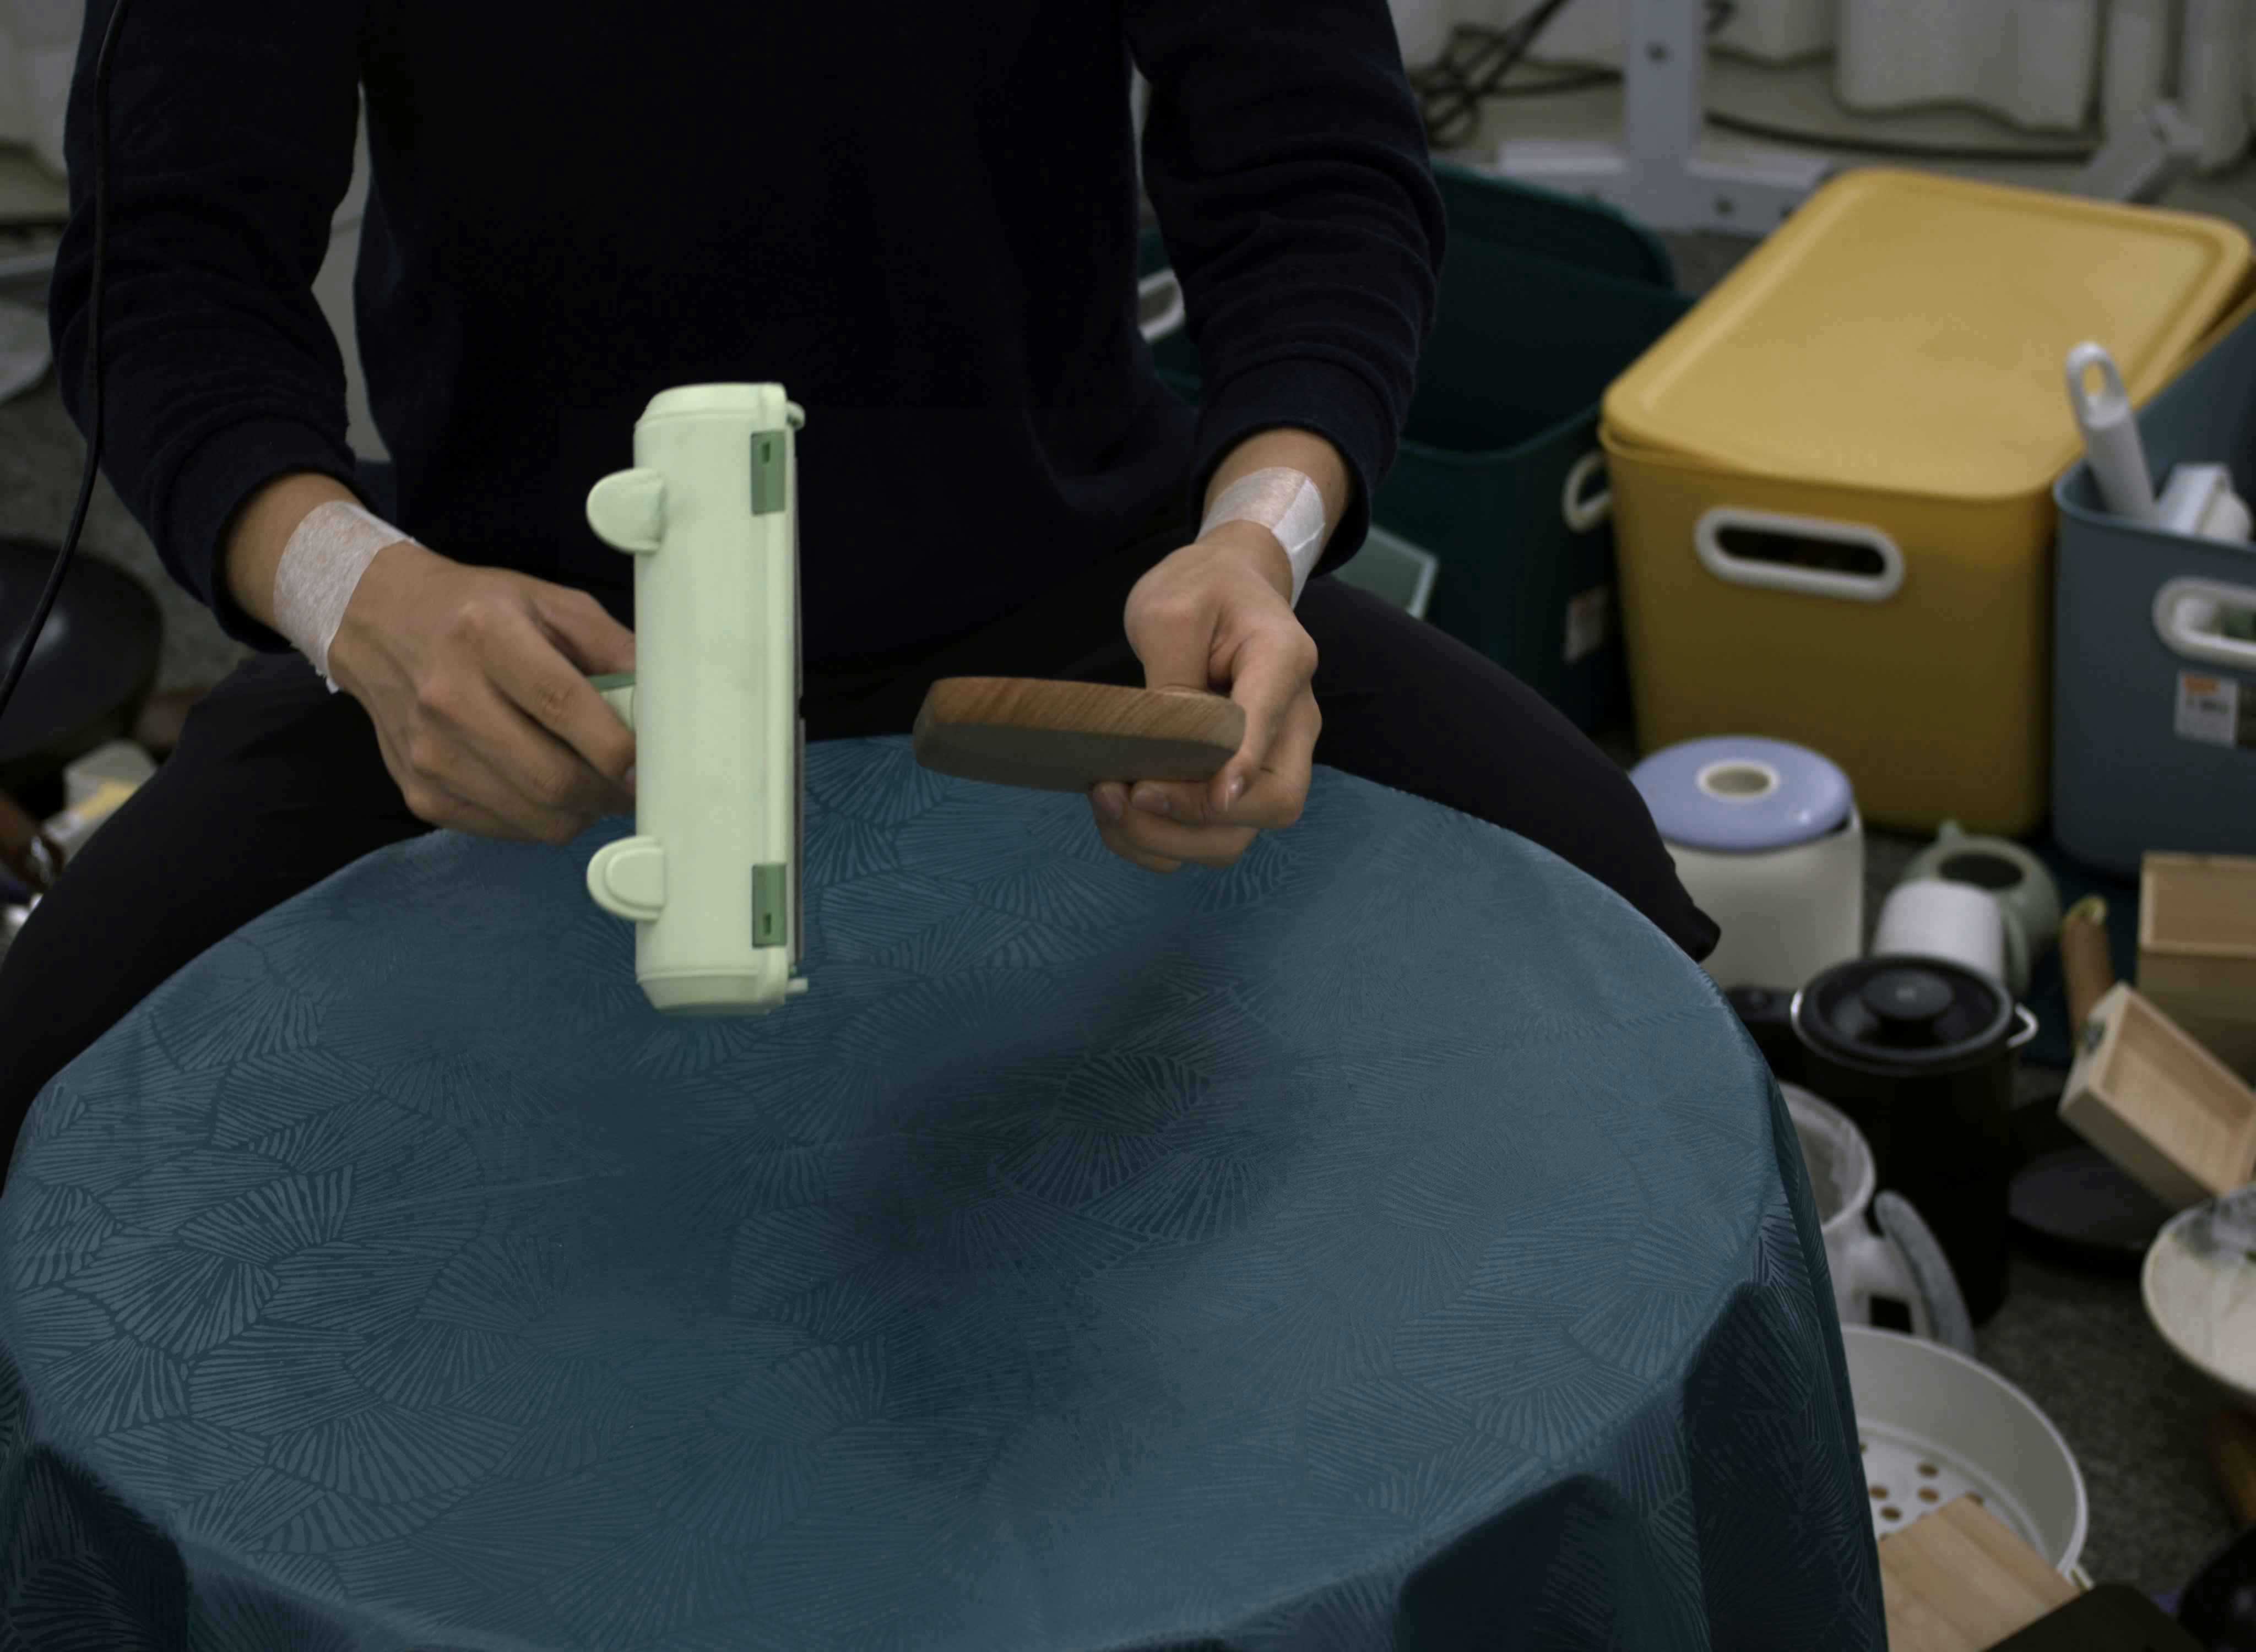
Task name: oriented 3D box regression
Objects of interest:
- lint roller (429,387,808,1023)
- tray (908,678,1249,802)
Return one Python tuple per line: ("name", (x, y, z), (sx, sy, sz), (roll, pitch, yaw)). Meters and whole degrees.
("lint roller", (-0.178, -0.033, 1.797), (0.181, 0.200, 0.082), (-8, -11, 37))
("tray", (-0.018, -0.027, 1.831), (0.101, 0.020, 0.230), (7, -7, -5))
